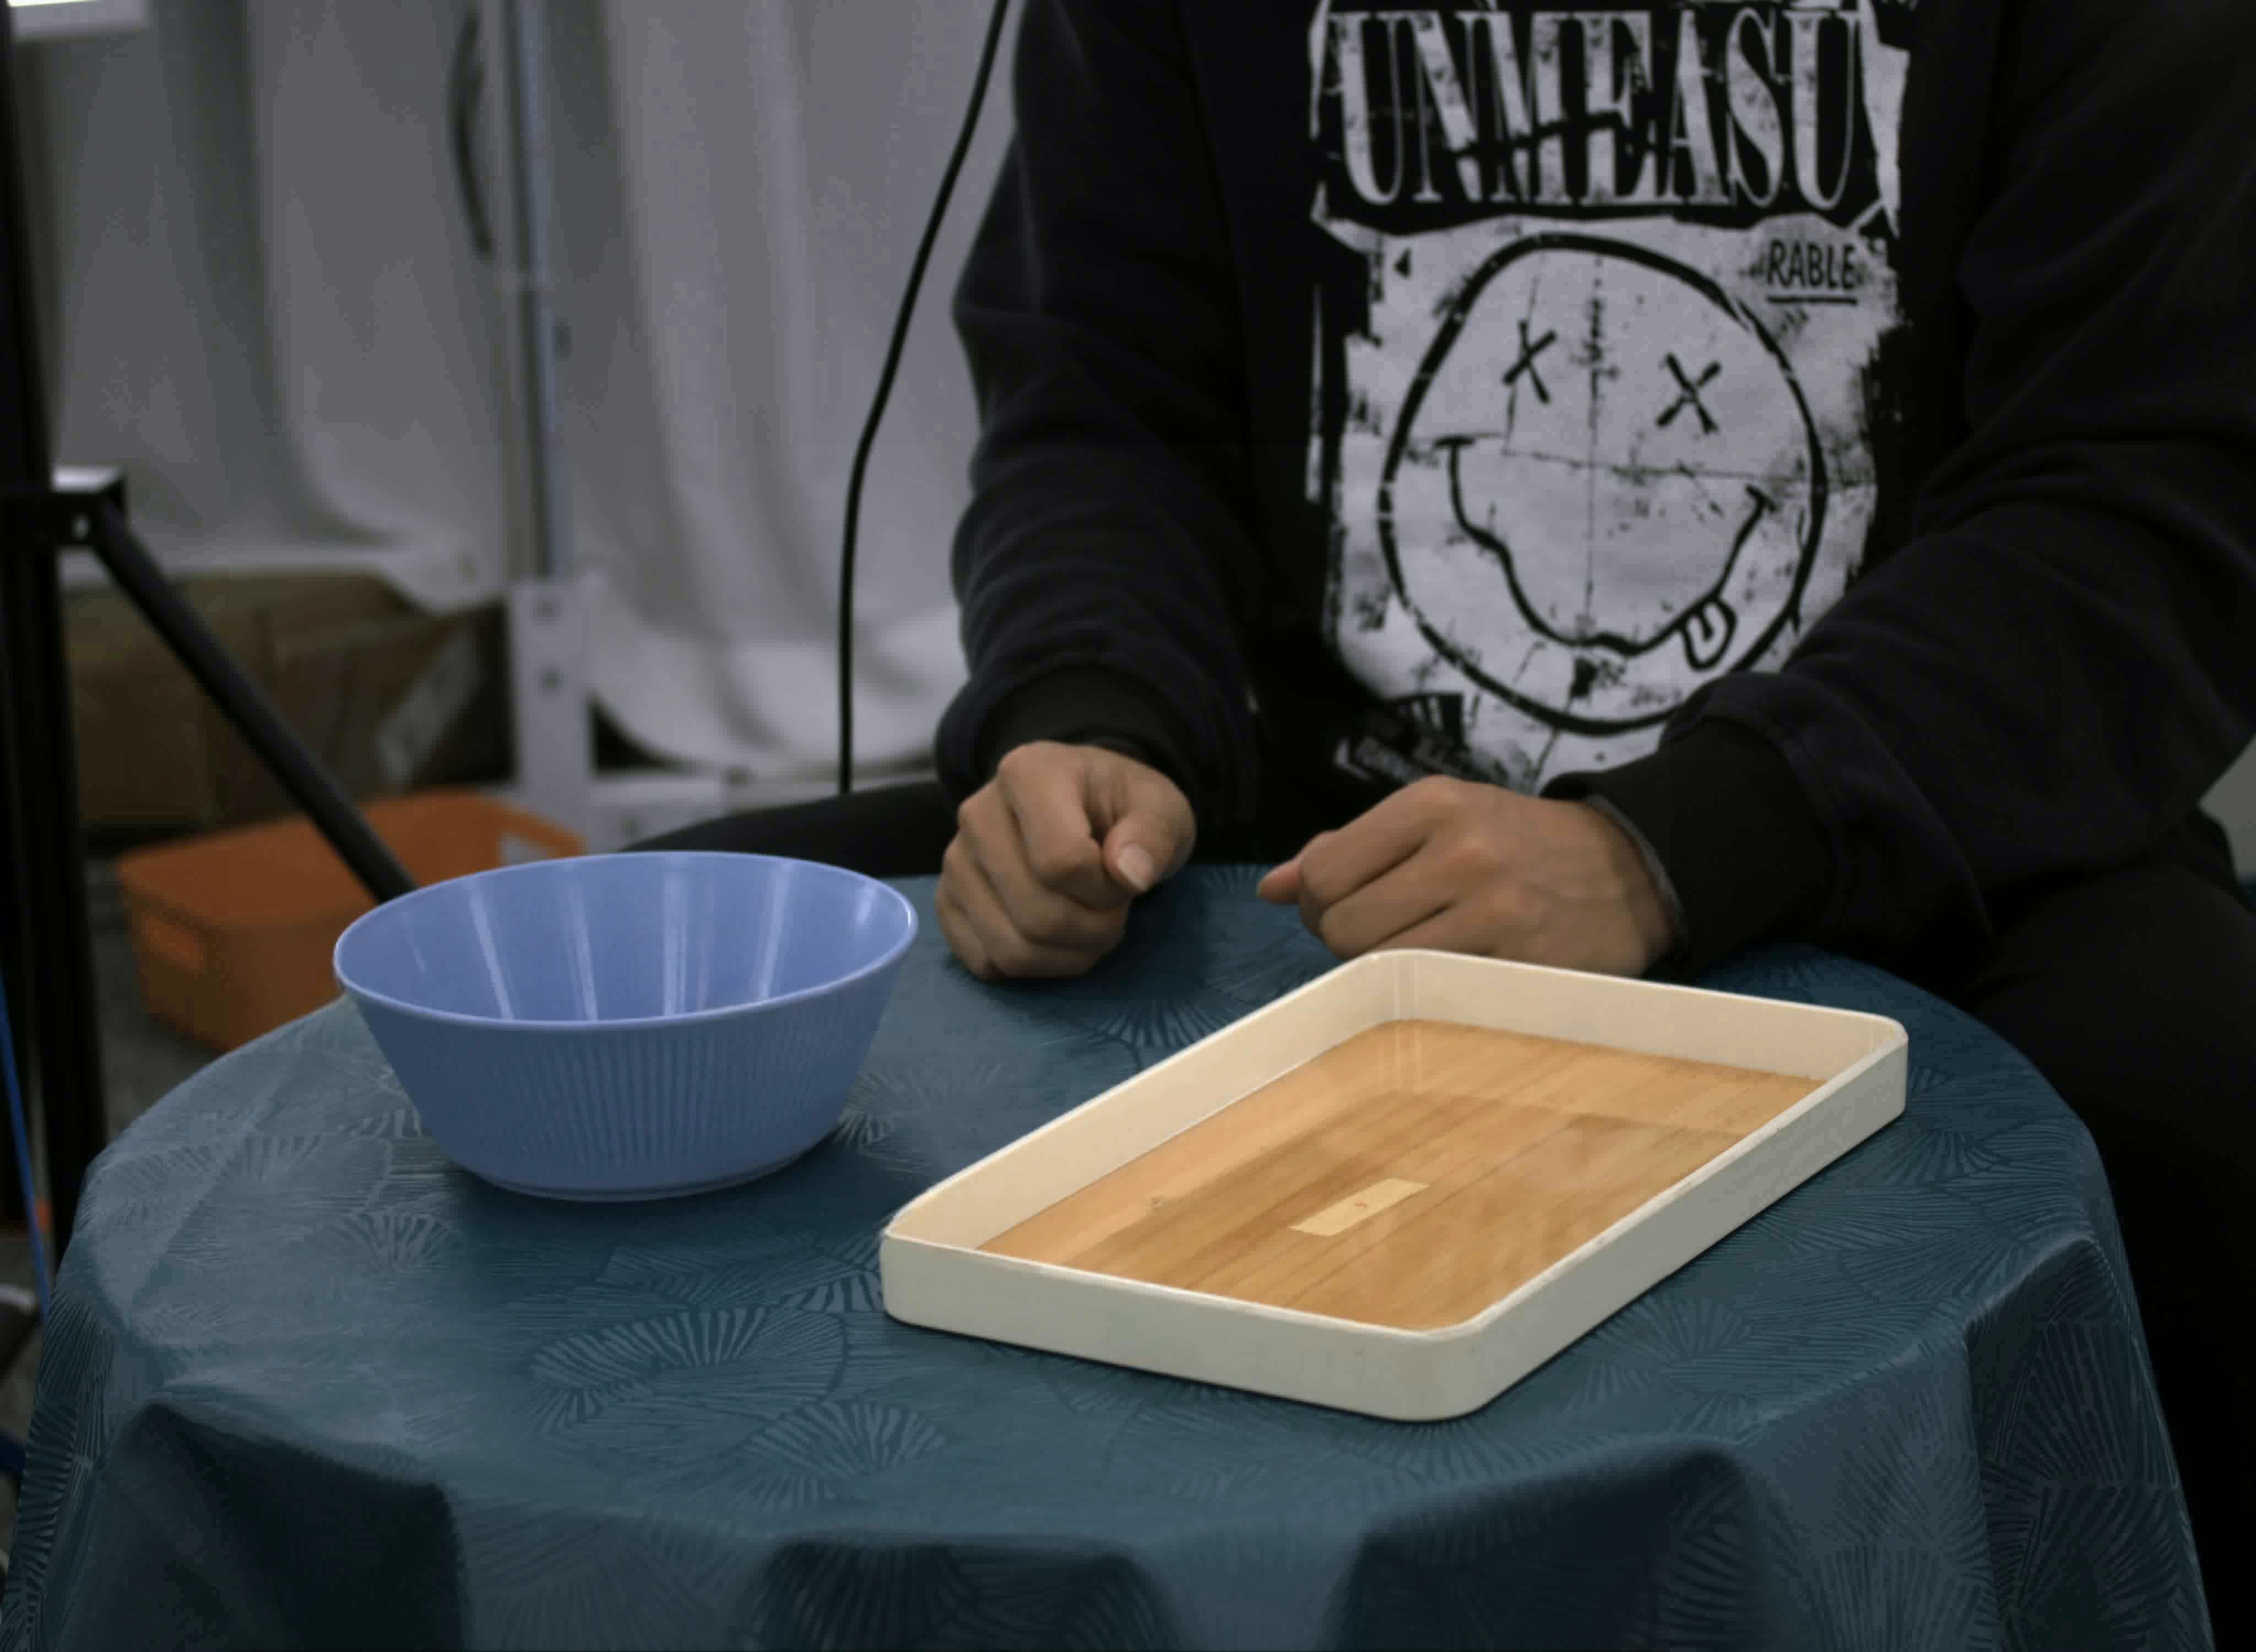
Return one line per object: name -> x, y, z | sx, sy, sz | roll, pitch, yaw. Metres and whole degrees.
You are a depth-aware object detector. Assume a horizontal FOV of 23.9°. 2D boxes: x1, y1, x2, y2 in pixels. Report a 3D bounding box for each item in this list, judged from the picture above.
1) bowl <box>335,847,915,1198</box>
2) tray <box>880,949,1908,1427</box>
bowl -> -0.150, 0.062, 1.615 | 0.175, 0.070, 0.177 | -2, 17, -1
tray -> 0.083, 0.099, 1.530 | 0.195, 0.027, 0.294 | 8, 19, 32
